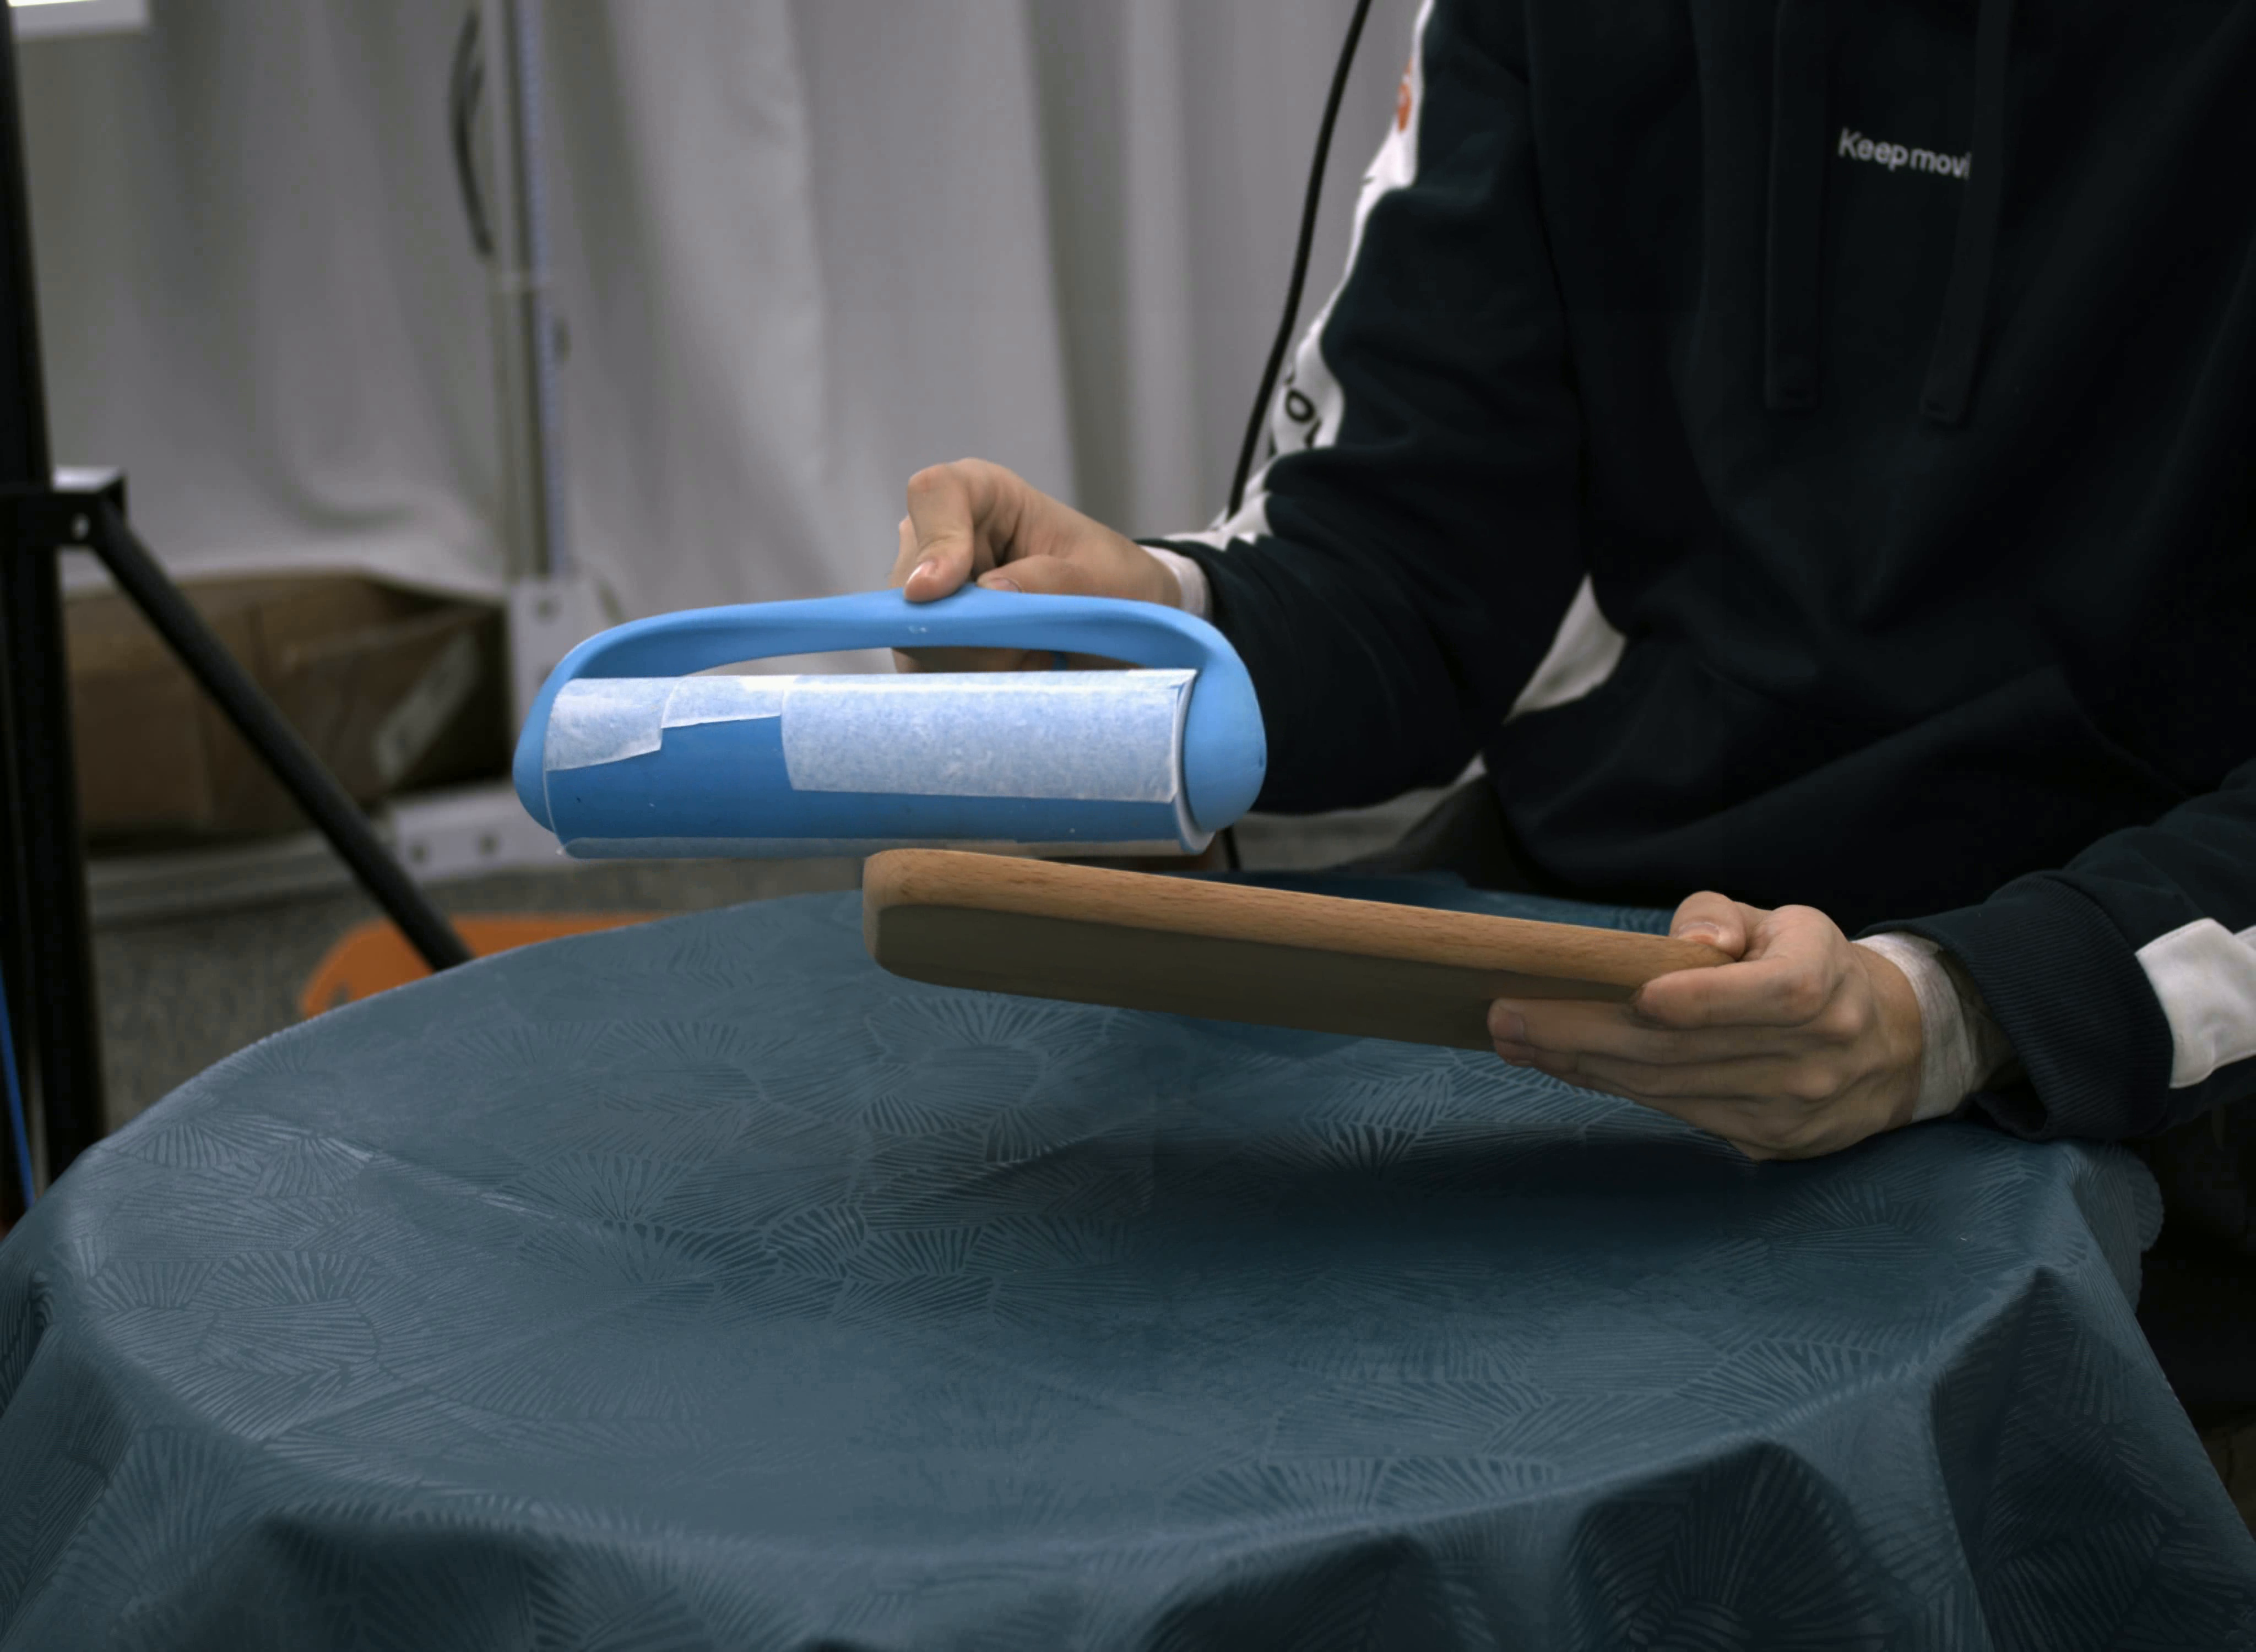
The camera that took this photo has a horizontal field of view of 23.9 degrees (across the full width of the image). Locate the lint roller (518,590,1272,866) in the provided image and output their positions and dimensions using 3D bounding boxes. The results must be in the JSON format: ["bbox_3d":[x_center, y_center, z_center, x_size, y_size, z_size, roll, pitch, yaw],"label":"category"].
[{"bbox_3d":[-0.057,-0.040,1.600,0.231,0.068,0.179,-4,20,16],"label":"lint roller"}]

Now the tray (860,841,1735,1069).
[{"bbox_3d":[0.046,0.039,1.535,0.250,0.023,0.130,7,-16,1],"label":"tray"}]
